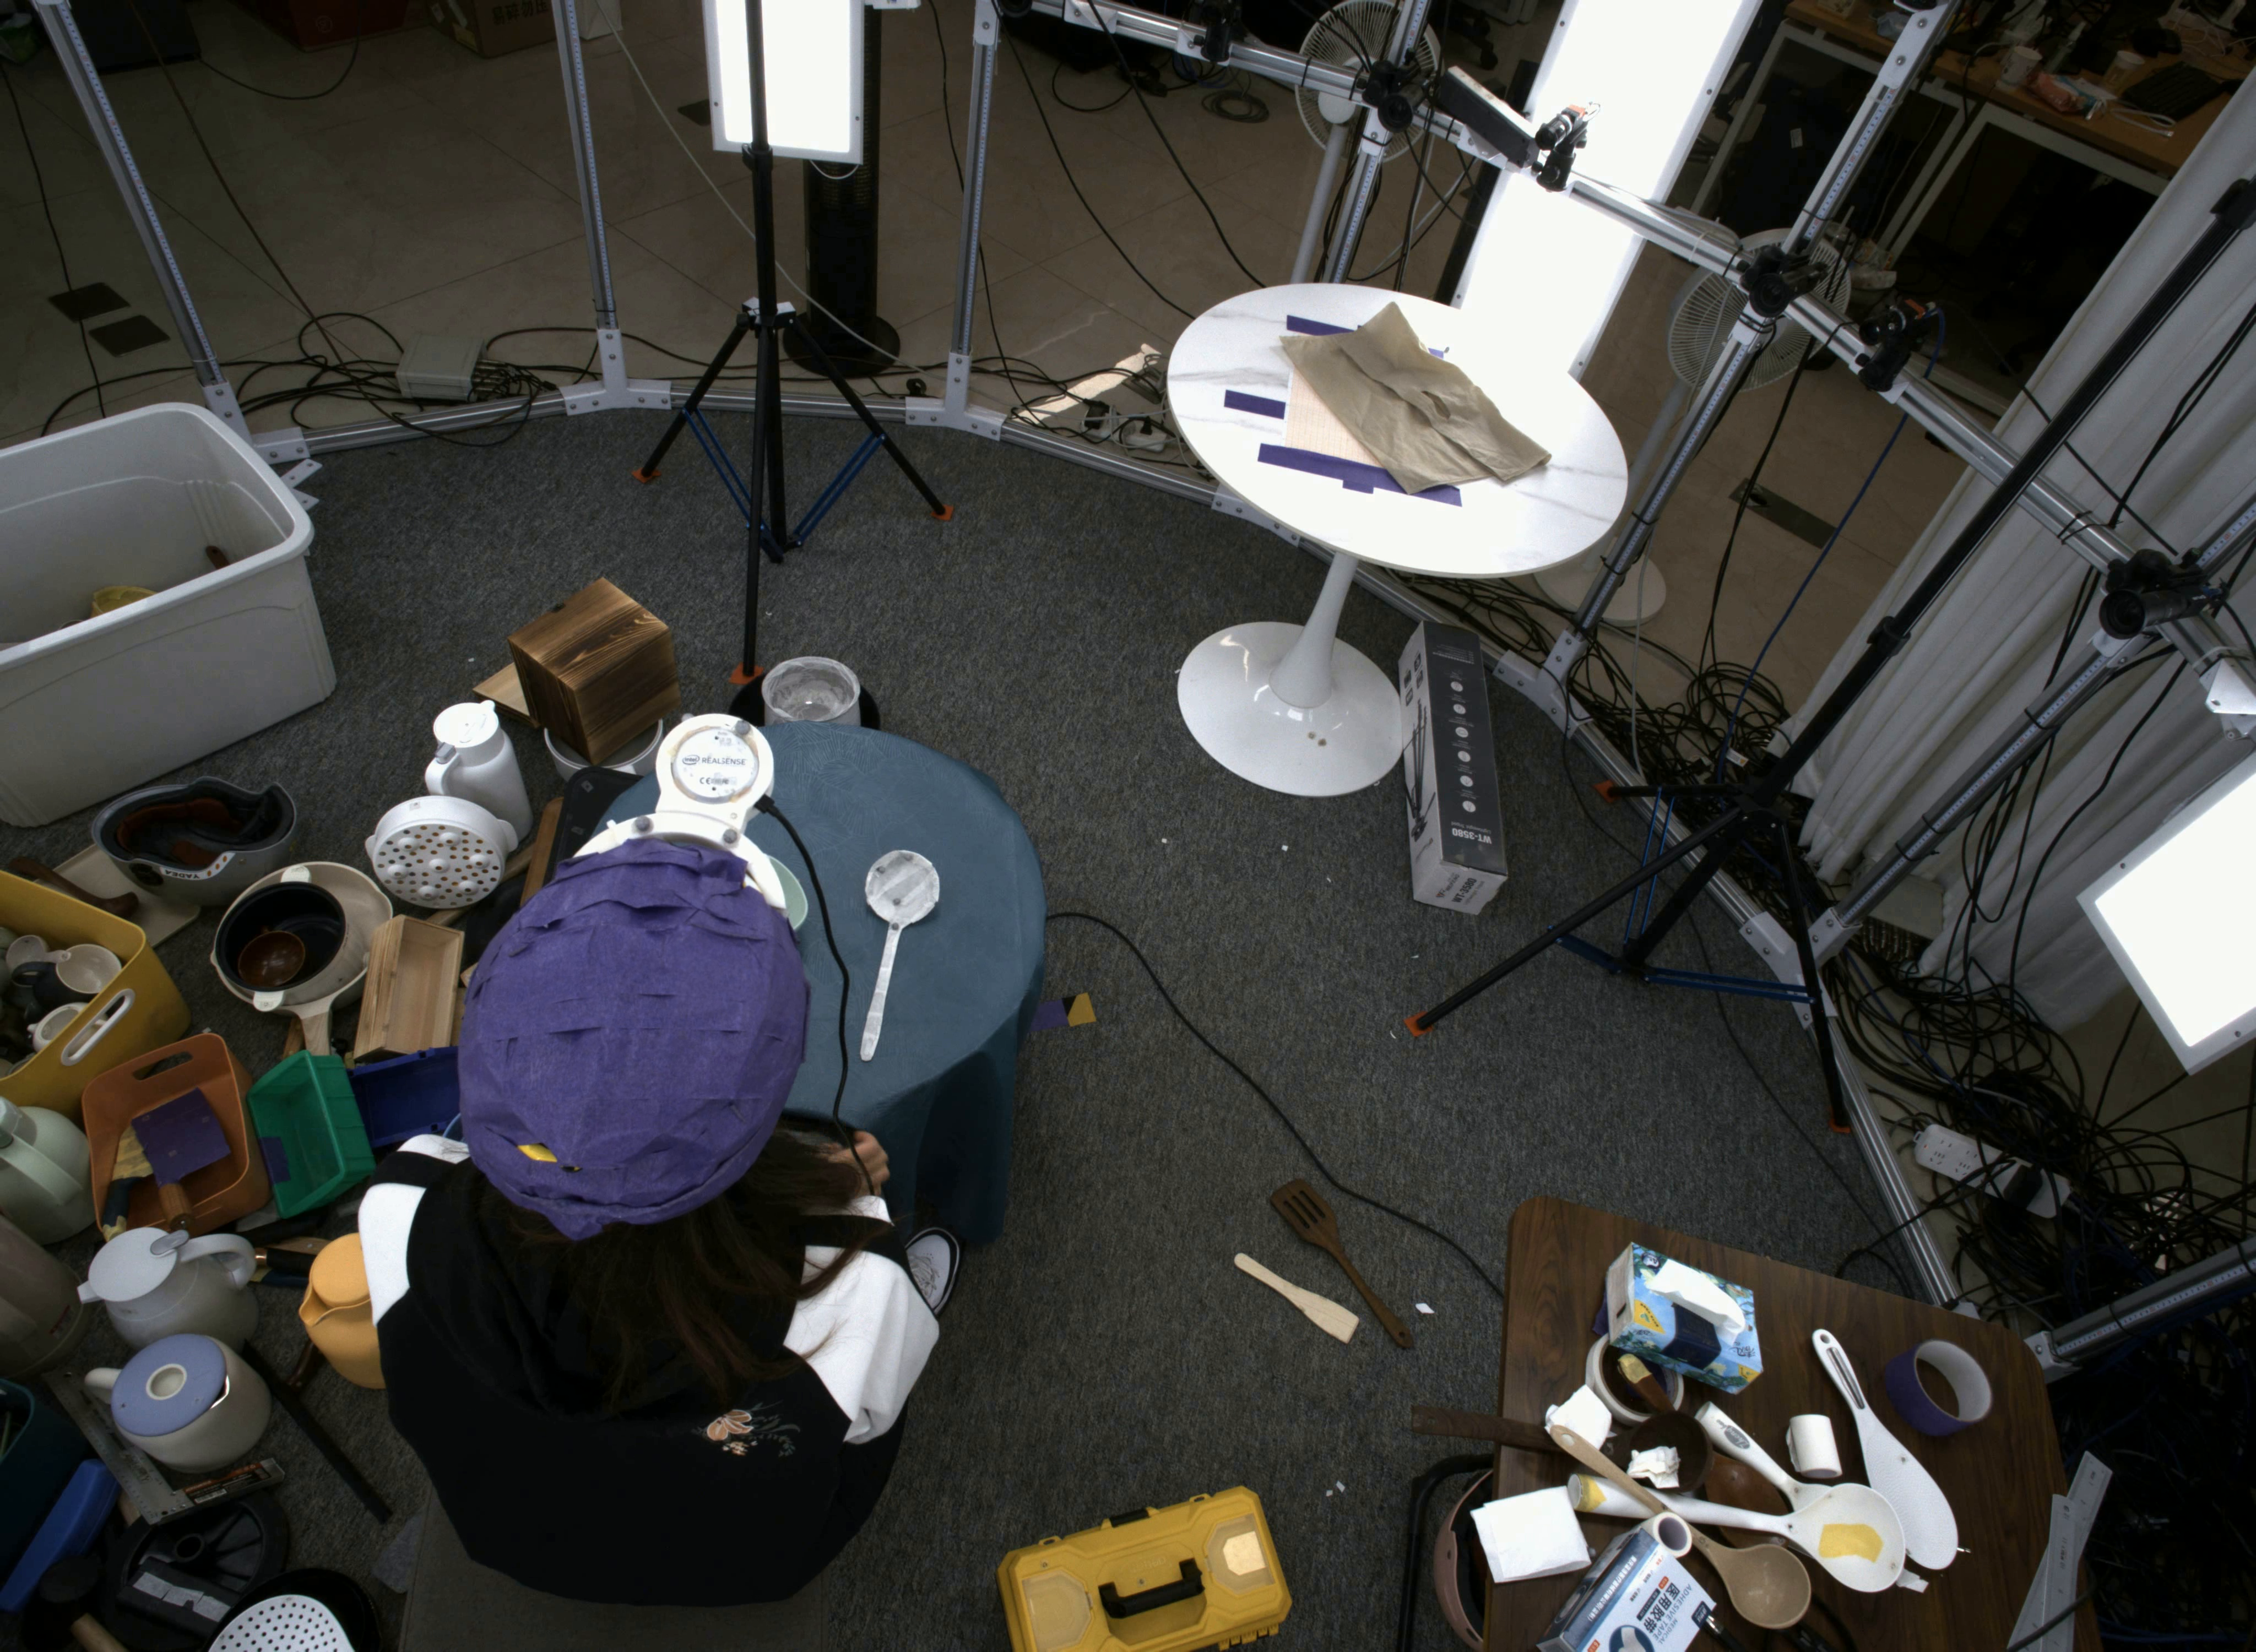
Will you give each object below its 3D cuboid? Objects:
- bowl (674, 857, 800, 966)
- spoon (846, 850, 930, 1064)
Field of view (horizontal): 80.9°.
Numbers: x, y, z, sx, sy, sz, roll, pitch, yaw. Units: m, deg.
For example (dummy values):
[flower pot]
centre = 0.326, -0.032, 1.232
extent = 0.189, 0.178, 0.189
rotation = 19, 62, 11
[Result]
[bowl]
centre = -0.478, 0.113, 1.586
extent = 0.151, 0.060, 0.149
rotation = 8, 52, -8
[spoon]
centre = -0.313, 0.153, 1.596
extent = 0.100, 0.061, 0.273
rotation = 10, 52, -1
